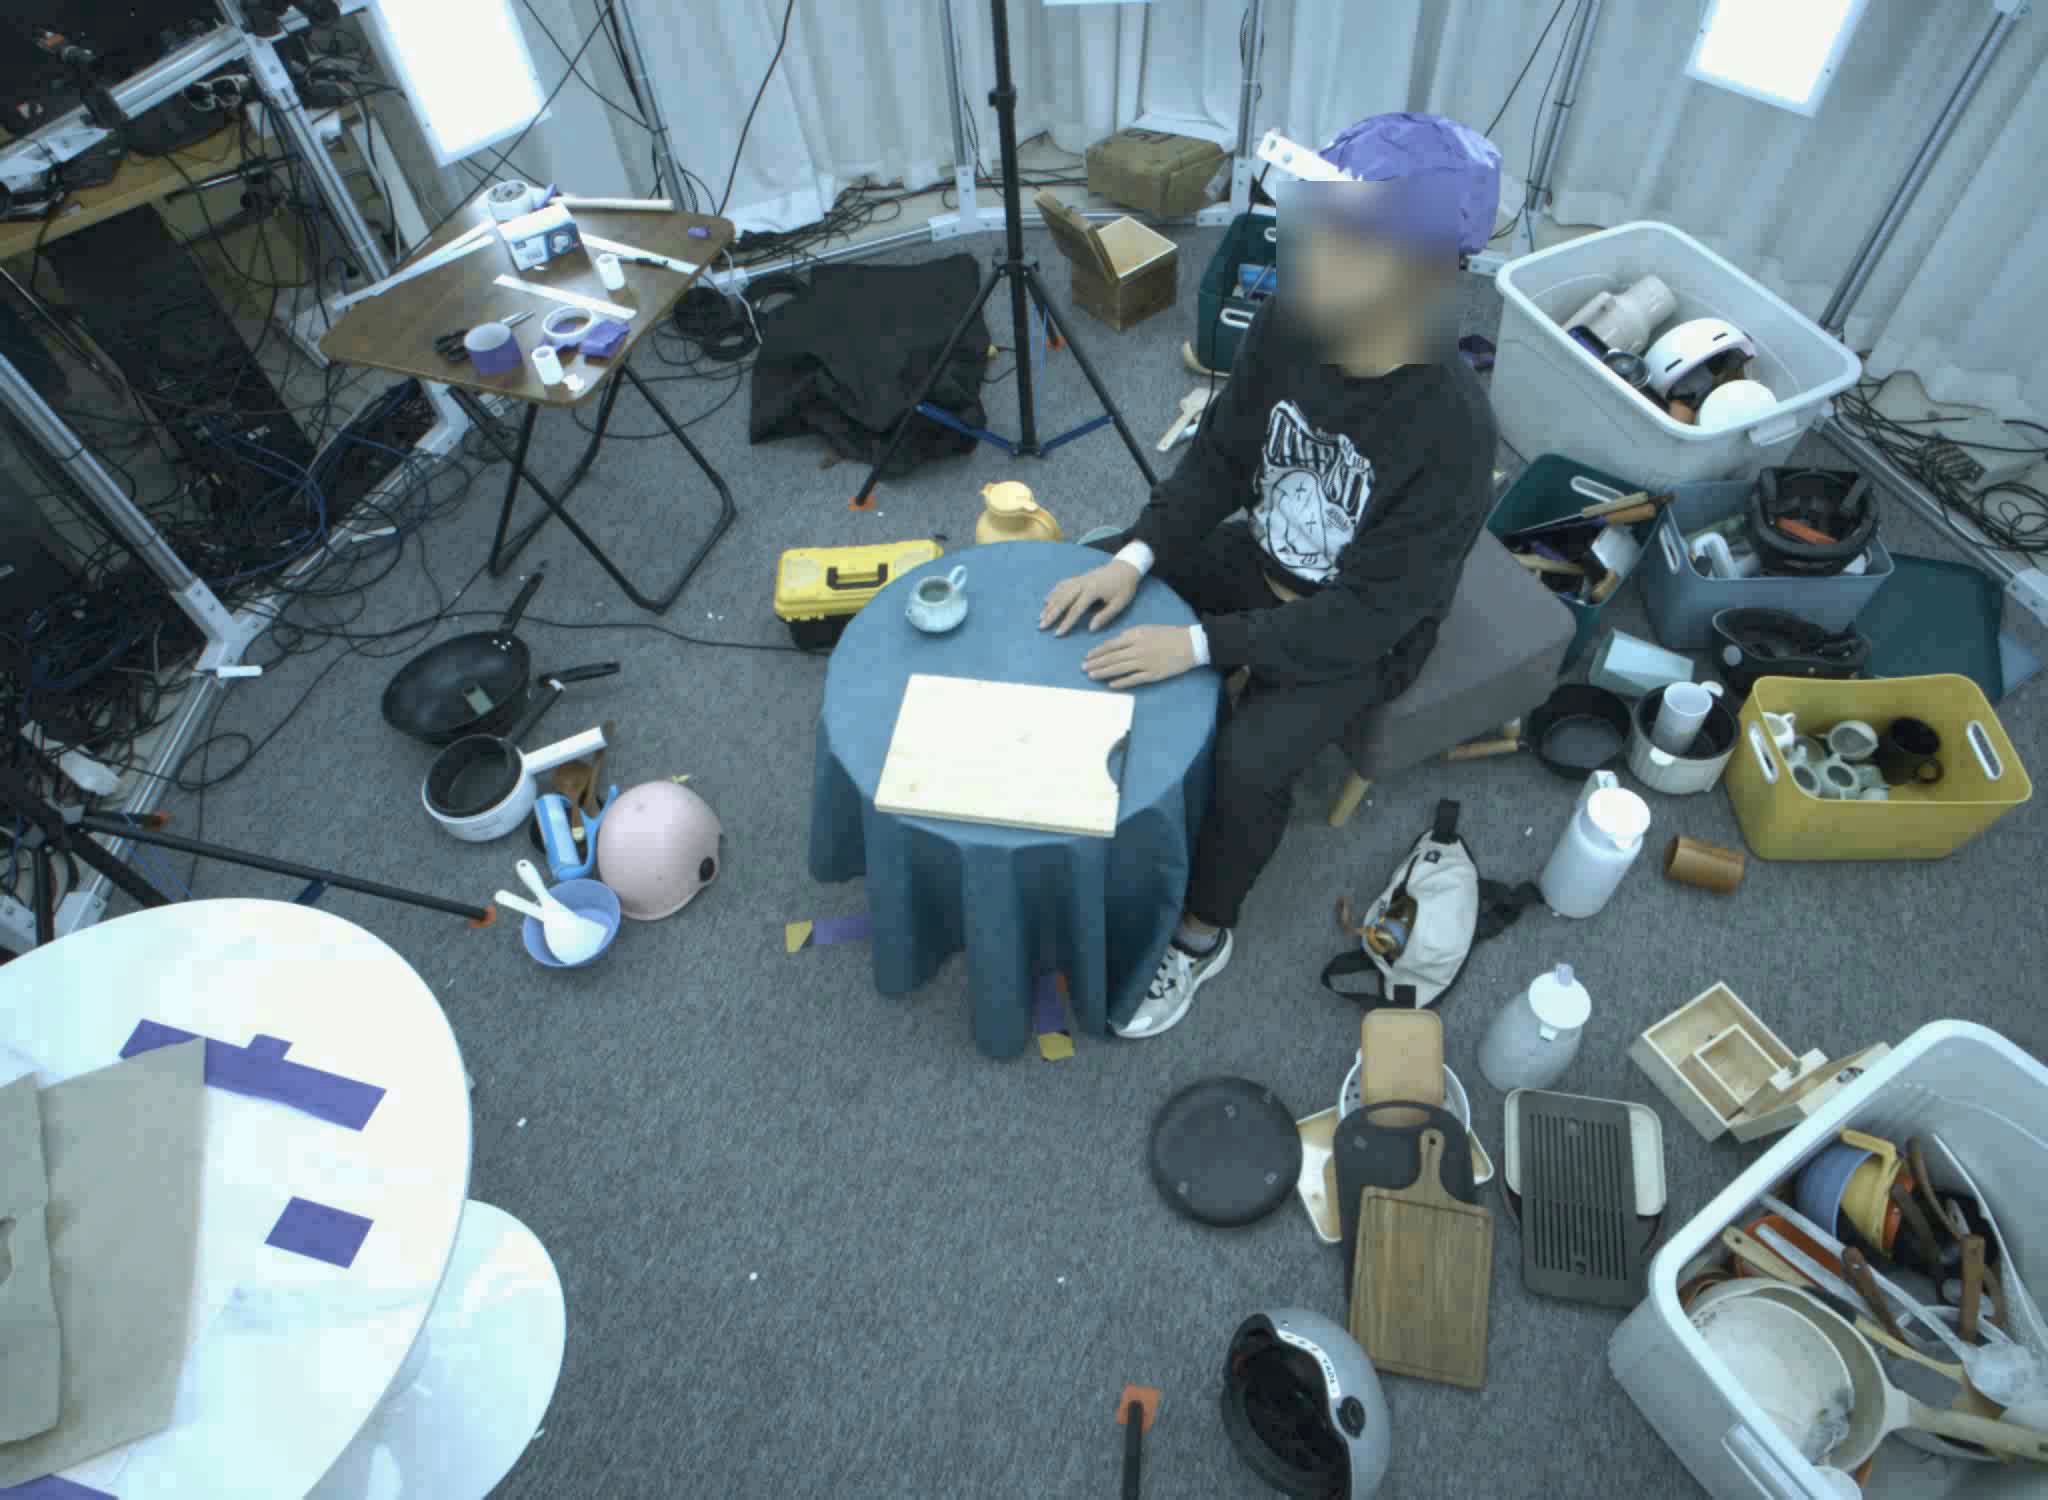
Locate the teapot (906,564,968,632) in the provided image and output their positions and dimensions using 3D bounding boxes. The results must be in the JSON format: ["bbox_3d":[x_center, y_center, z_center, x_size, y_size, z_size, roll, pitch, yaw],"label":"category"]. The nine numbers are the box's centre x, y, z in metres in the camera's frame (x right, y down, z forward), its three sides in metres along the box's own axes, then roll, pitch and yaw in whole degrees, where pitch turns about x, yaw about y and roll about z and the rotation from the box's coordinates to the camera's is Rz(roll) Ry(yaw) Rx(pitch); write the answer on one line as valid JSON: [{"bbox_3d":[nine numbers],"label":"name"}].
[{"bbox_3d":[-0.136,-0.235,1.918,0.094,0.062,0.137,29,61,22],"label":"teapot"}]

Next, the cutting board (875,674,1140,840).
[{"bbox_3d":[-0.019,0.004,1.771,0.347,0.024,0.249,6,55,6],"label":"cutting board"}]
